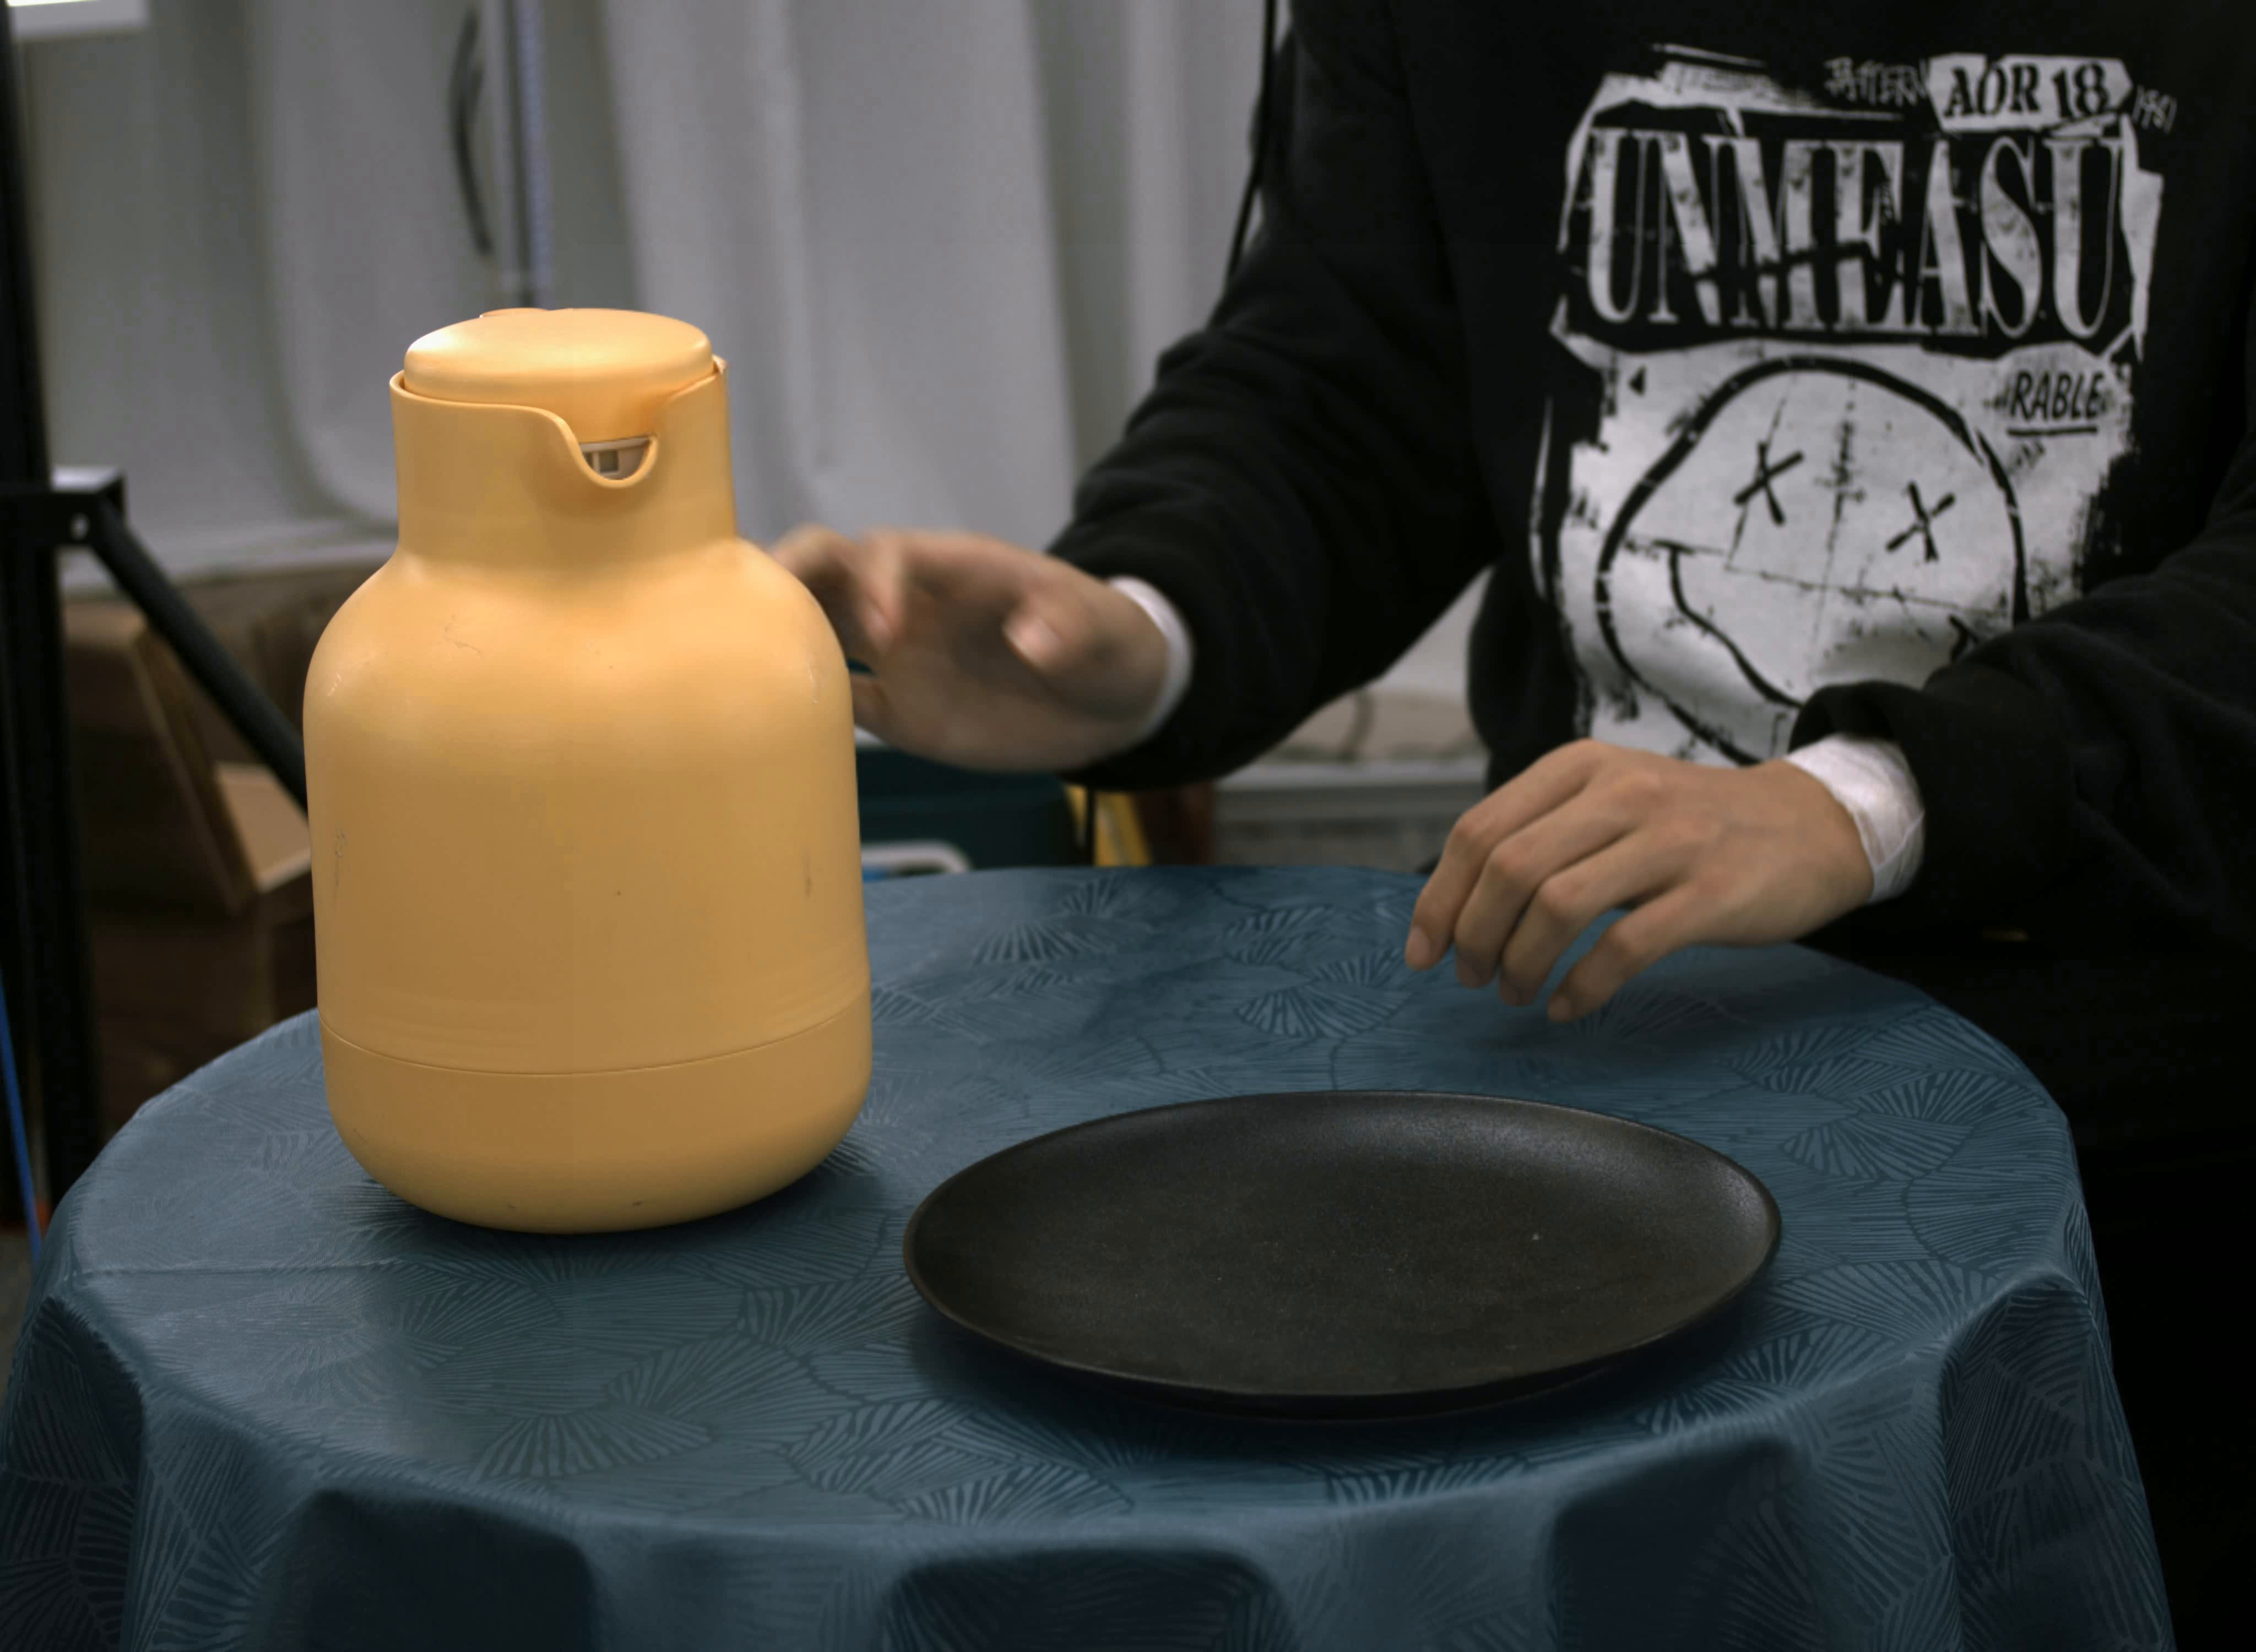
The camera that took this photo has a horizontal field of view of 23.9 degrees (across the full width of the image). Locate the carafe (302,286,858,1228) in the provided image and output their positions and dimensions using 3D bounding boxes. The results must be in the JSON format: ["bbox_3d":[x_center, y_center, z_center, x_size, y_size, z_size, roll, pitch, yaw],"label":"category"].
[{"bbox_3d":[-0.164,-0.028,1.581,0.161,0.260,0.205,-3,17,-14],"label":"carafe"}]

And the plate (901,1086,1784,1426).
[{"bbox_3d":[0.059,0.121,1.457,0.243,0.023,0.245,-3,16,-1],"label":"plate"}]
